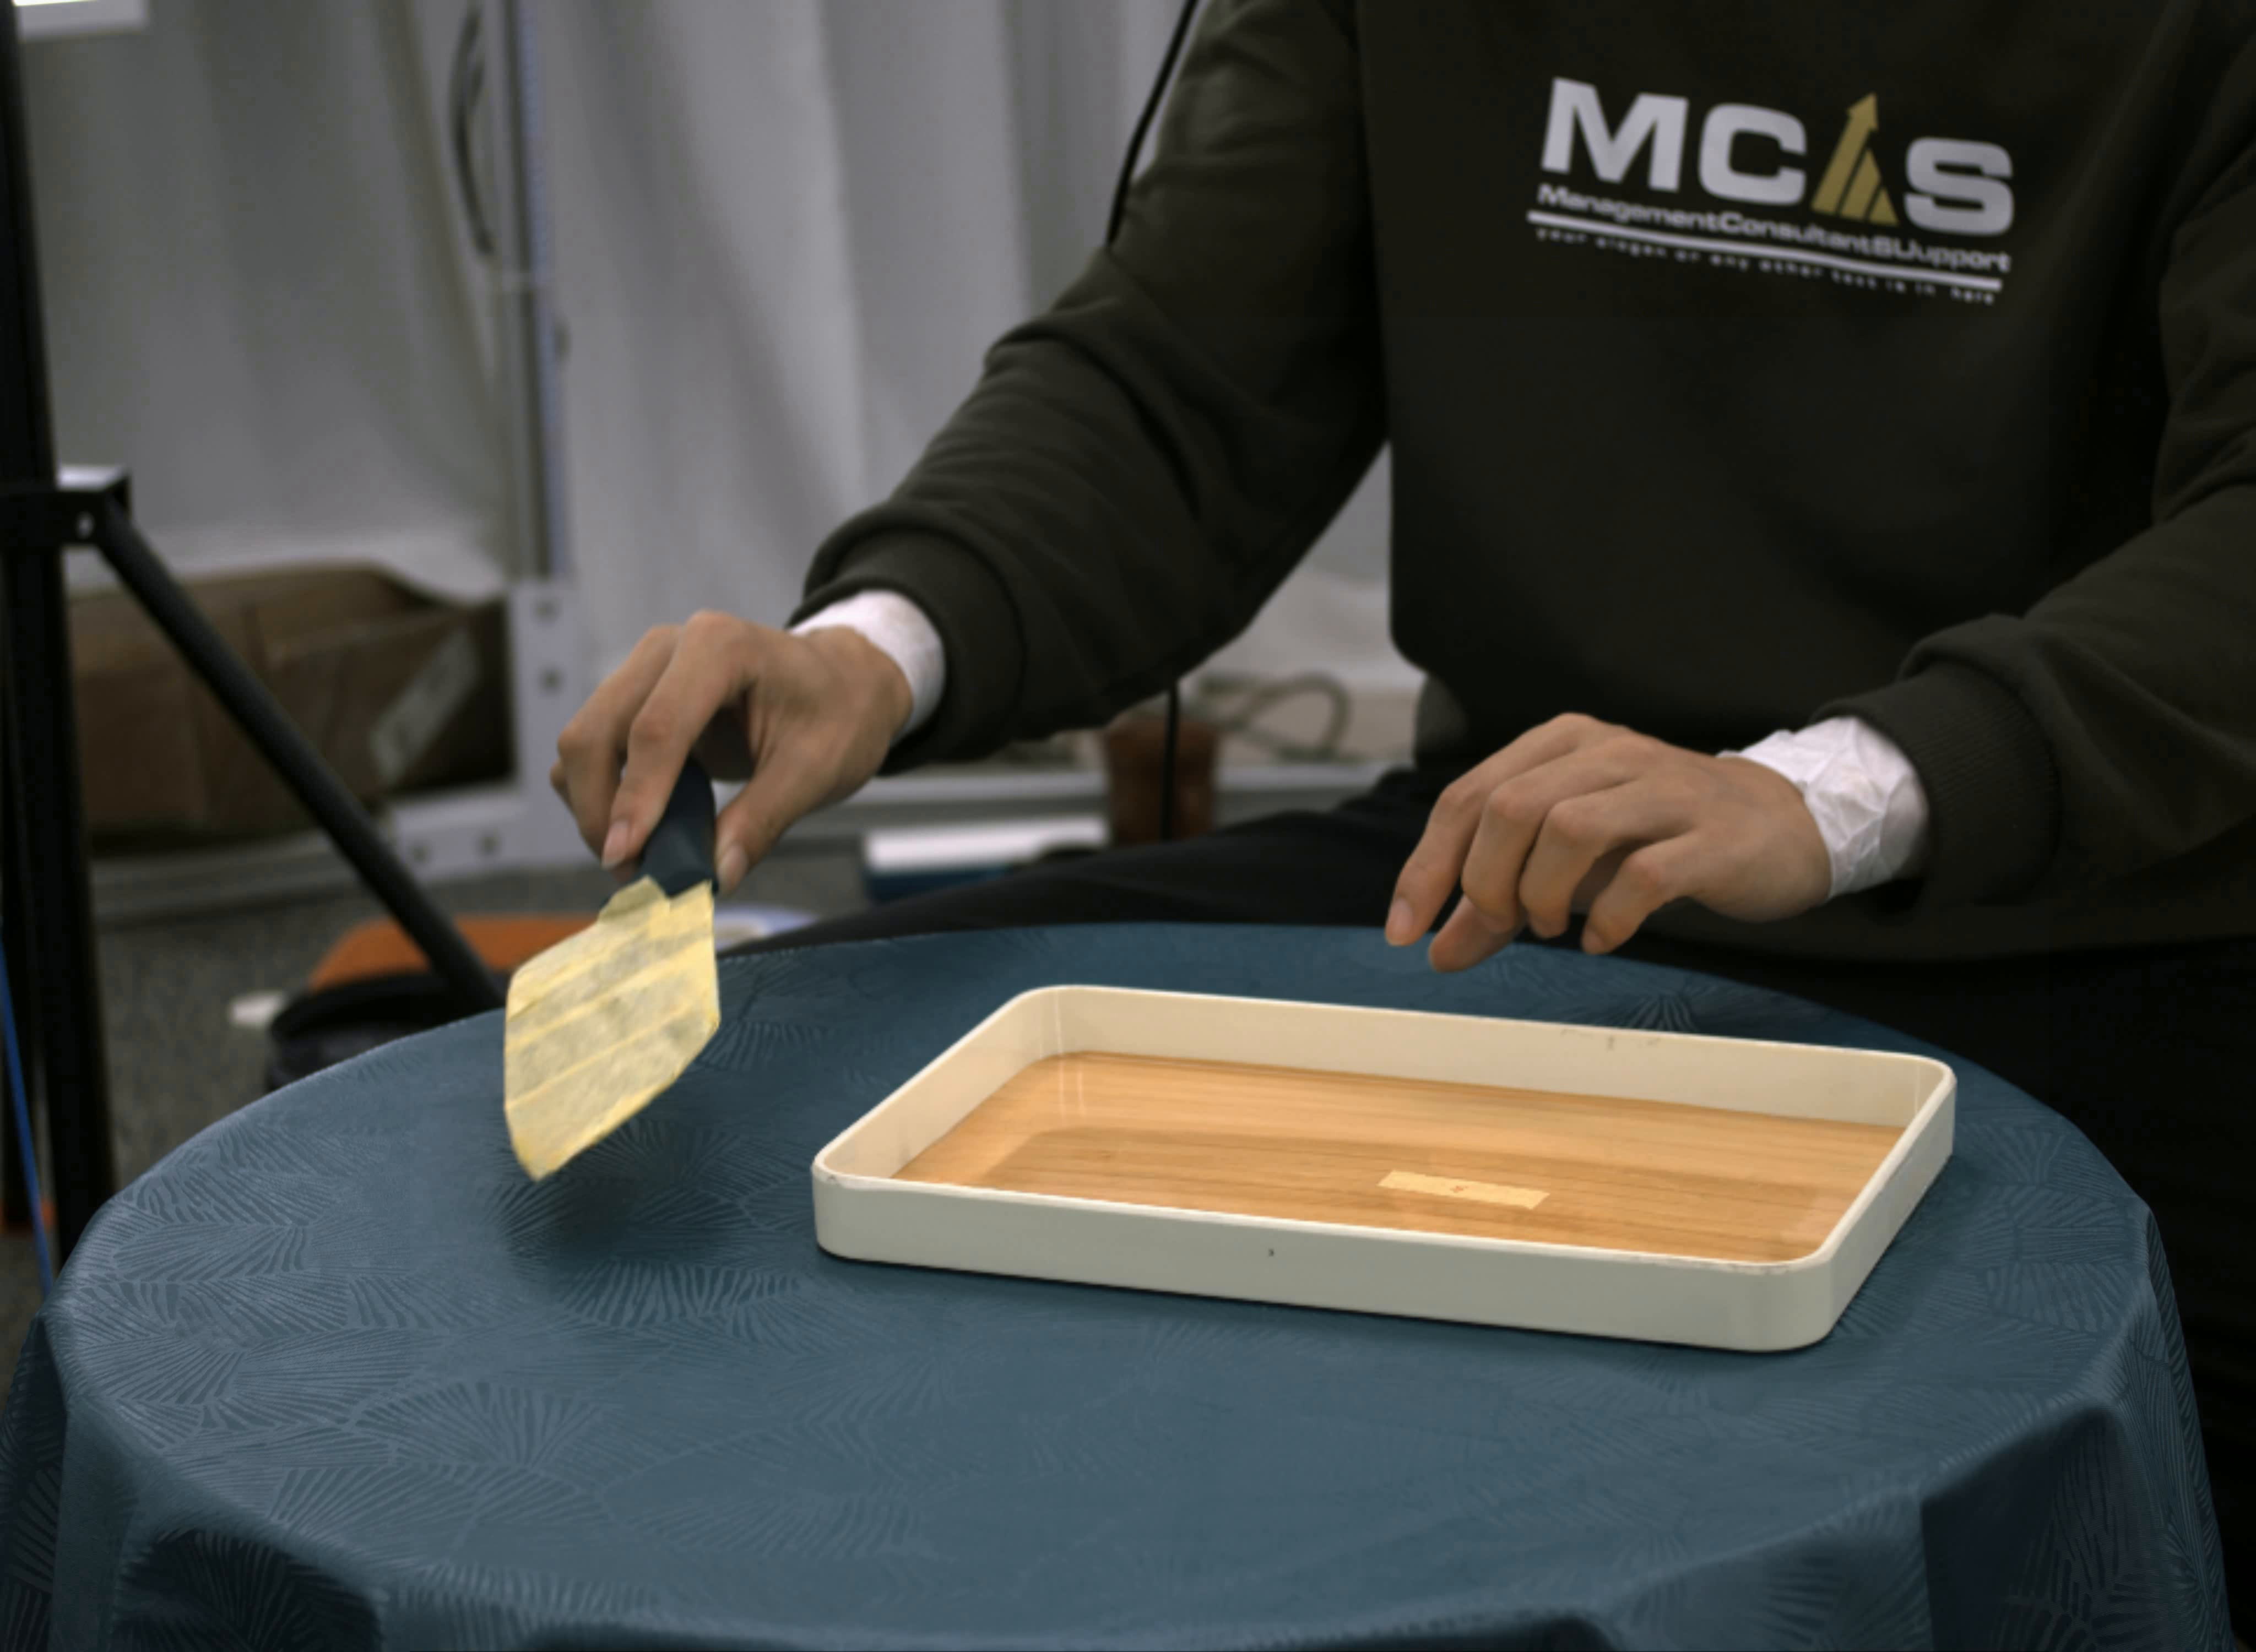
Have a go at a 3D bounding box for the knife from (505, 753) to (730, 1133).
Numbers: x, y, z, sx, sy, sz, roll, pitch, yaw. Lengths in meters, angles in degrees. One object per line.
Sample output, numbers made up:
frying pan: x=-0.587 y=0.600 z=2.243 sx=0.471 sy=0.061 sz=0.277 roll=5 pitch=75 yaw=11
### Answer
knife: x=-0.156 y=0.035 z=1.649 sx=0.081 sy=0.027 sz=0.291 roll=-26 pitch=19 yaw=7

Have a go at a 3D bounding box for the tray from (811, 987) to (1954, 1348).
tray: x=0.077 y=0.096 z=1.543 sx=0.304 sy=0.027 sz=0.189 roll=5 pitch=16 yaw=22
